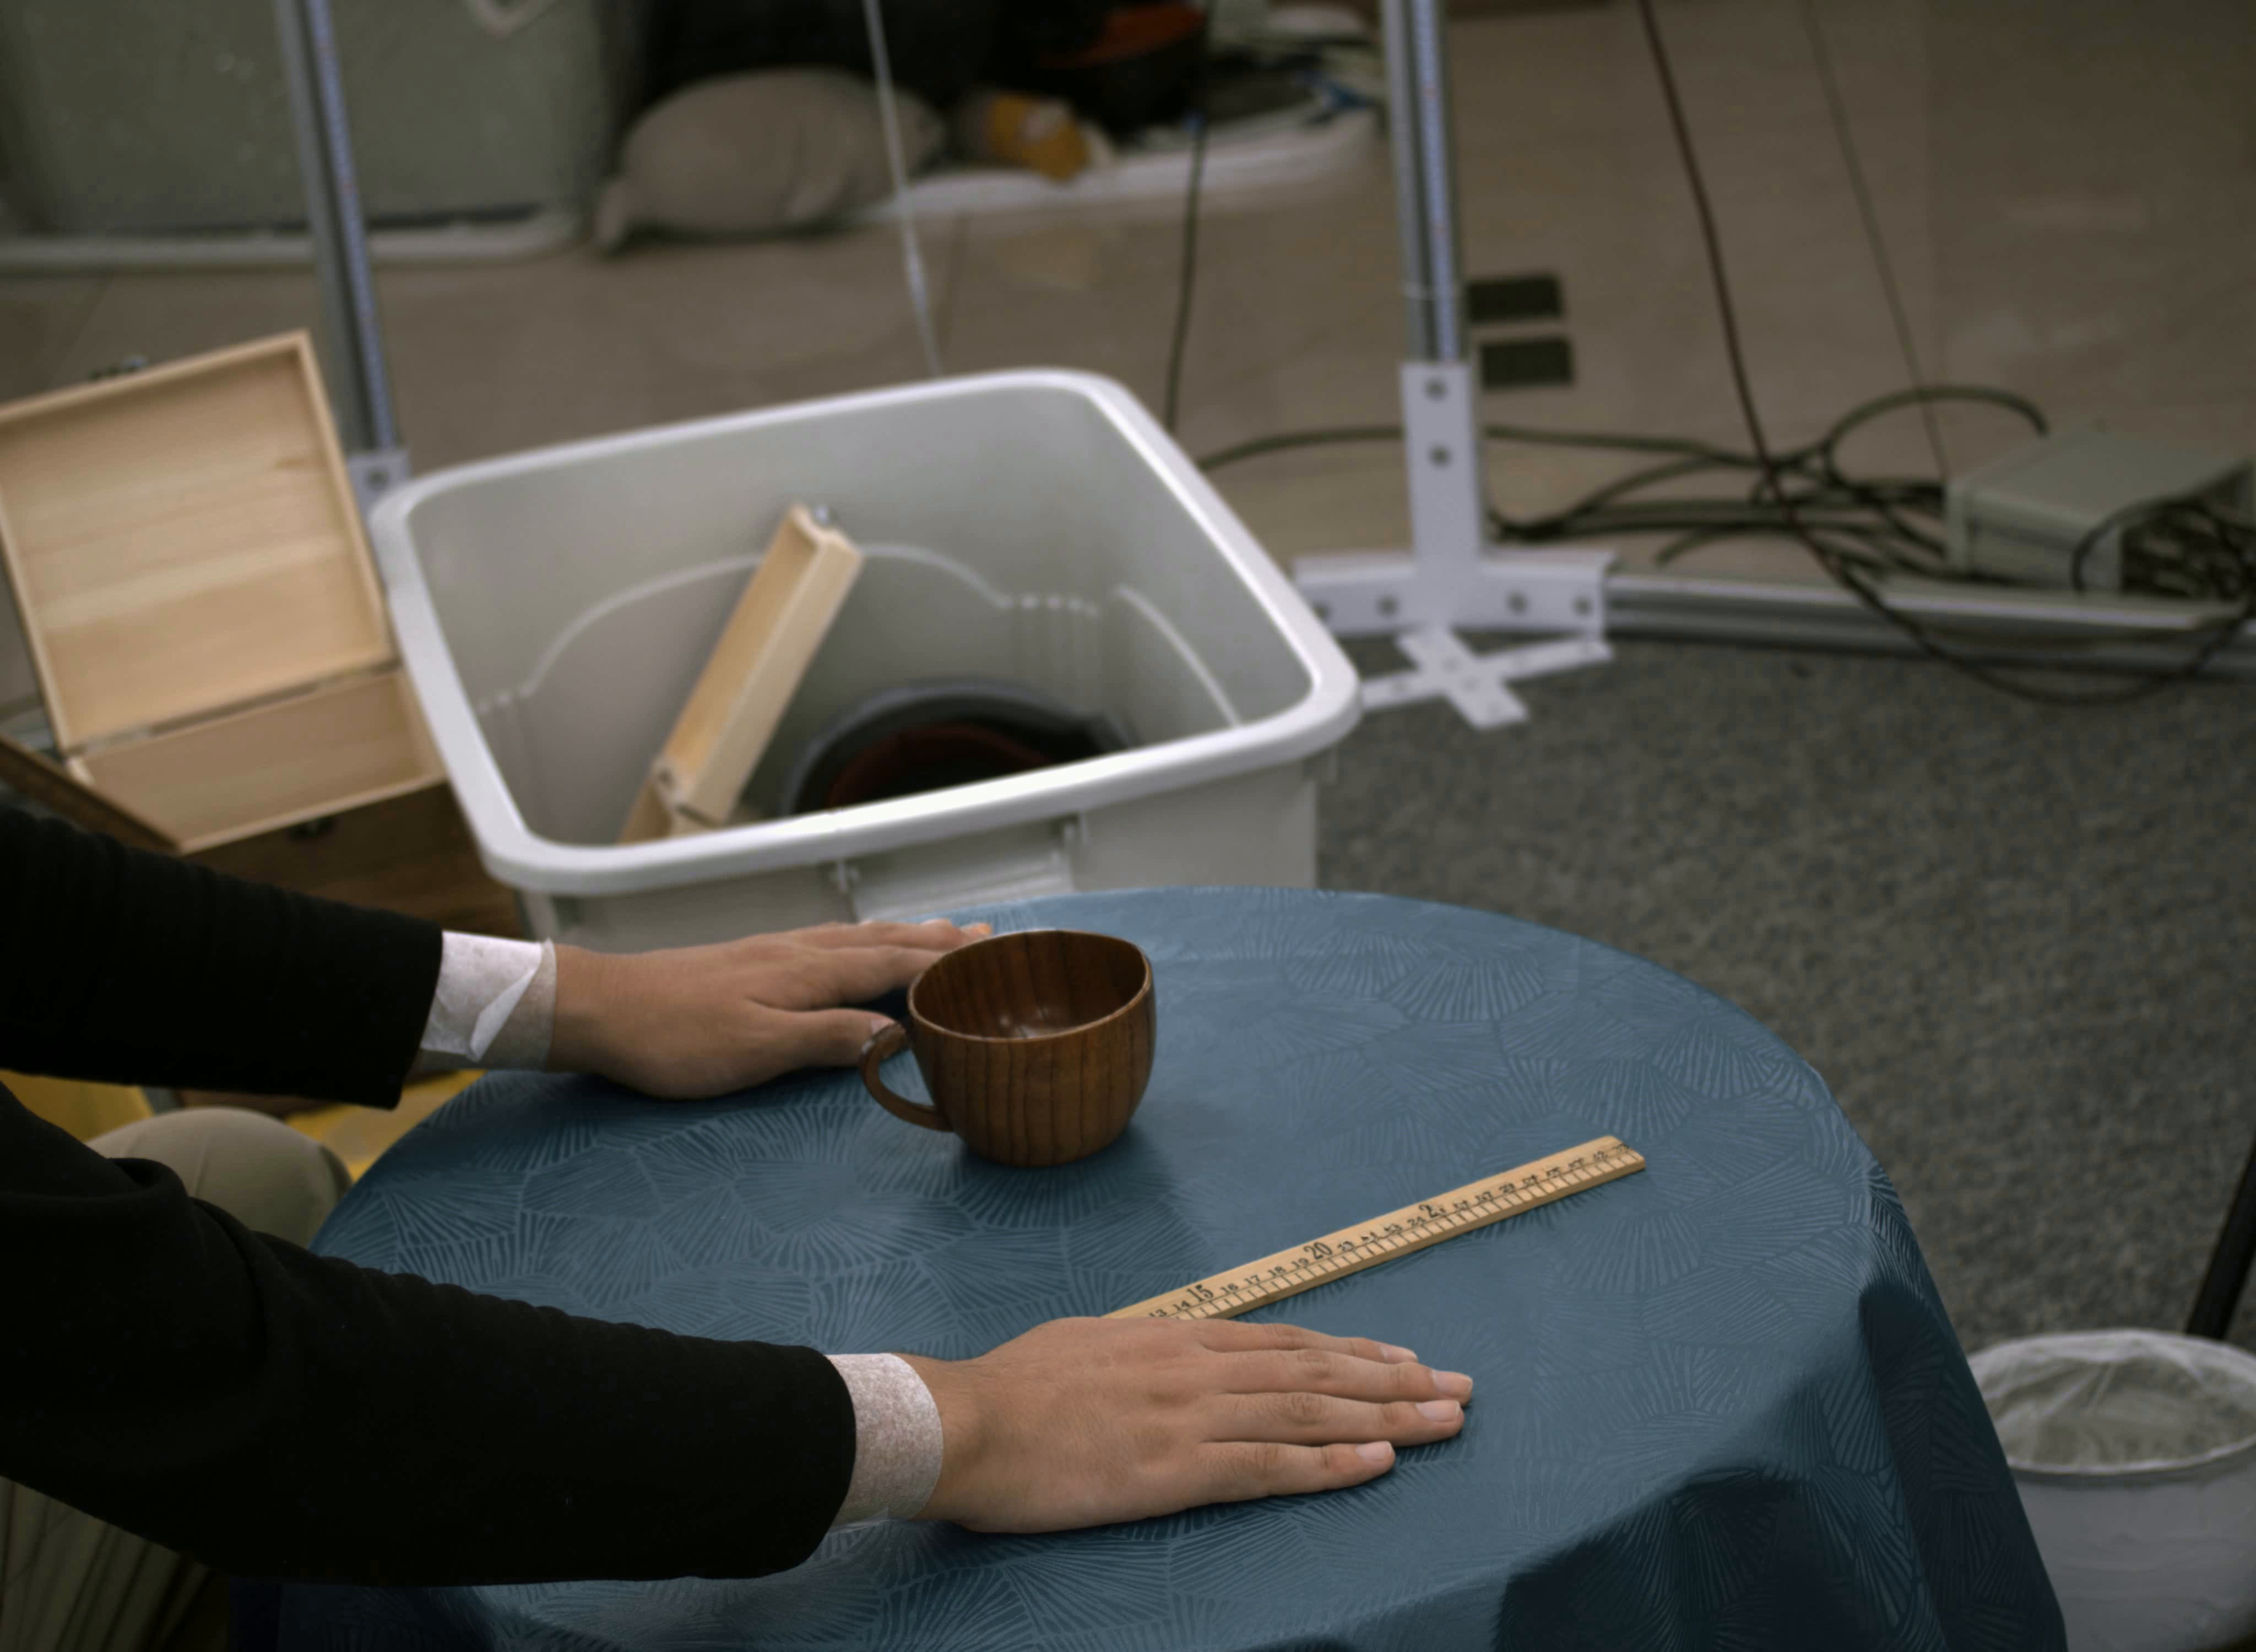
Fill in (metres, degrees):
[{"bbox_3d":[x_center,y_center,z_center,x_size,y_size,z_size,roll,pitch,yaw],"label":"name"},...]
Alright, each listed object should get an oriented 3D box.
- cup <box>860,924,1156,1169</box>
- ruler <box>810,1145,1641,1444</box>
[{"bbox_3d":[-0.046,0.091,2.184,0.119,0.069,0.095,-15,29,-16],"label":"cup"},{"bbox_3d":[0.039,0.166,2.067,0.330,0.022,0.027,-16,22,-21],"label":"ruler"}]
